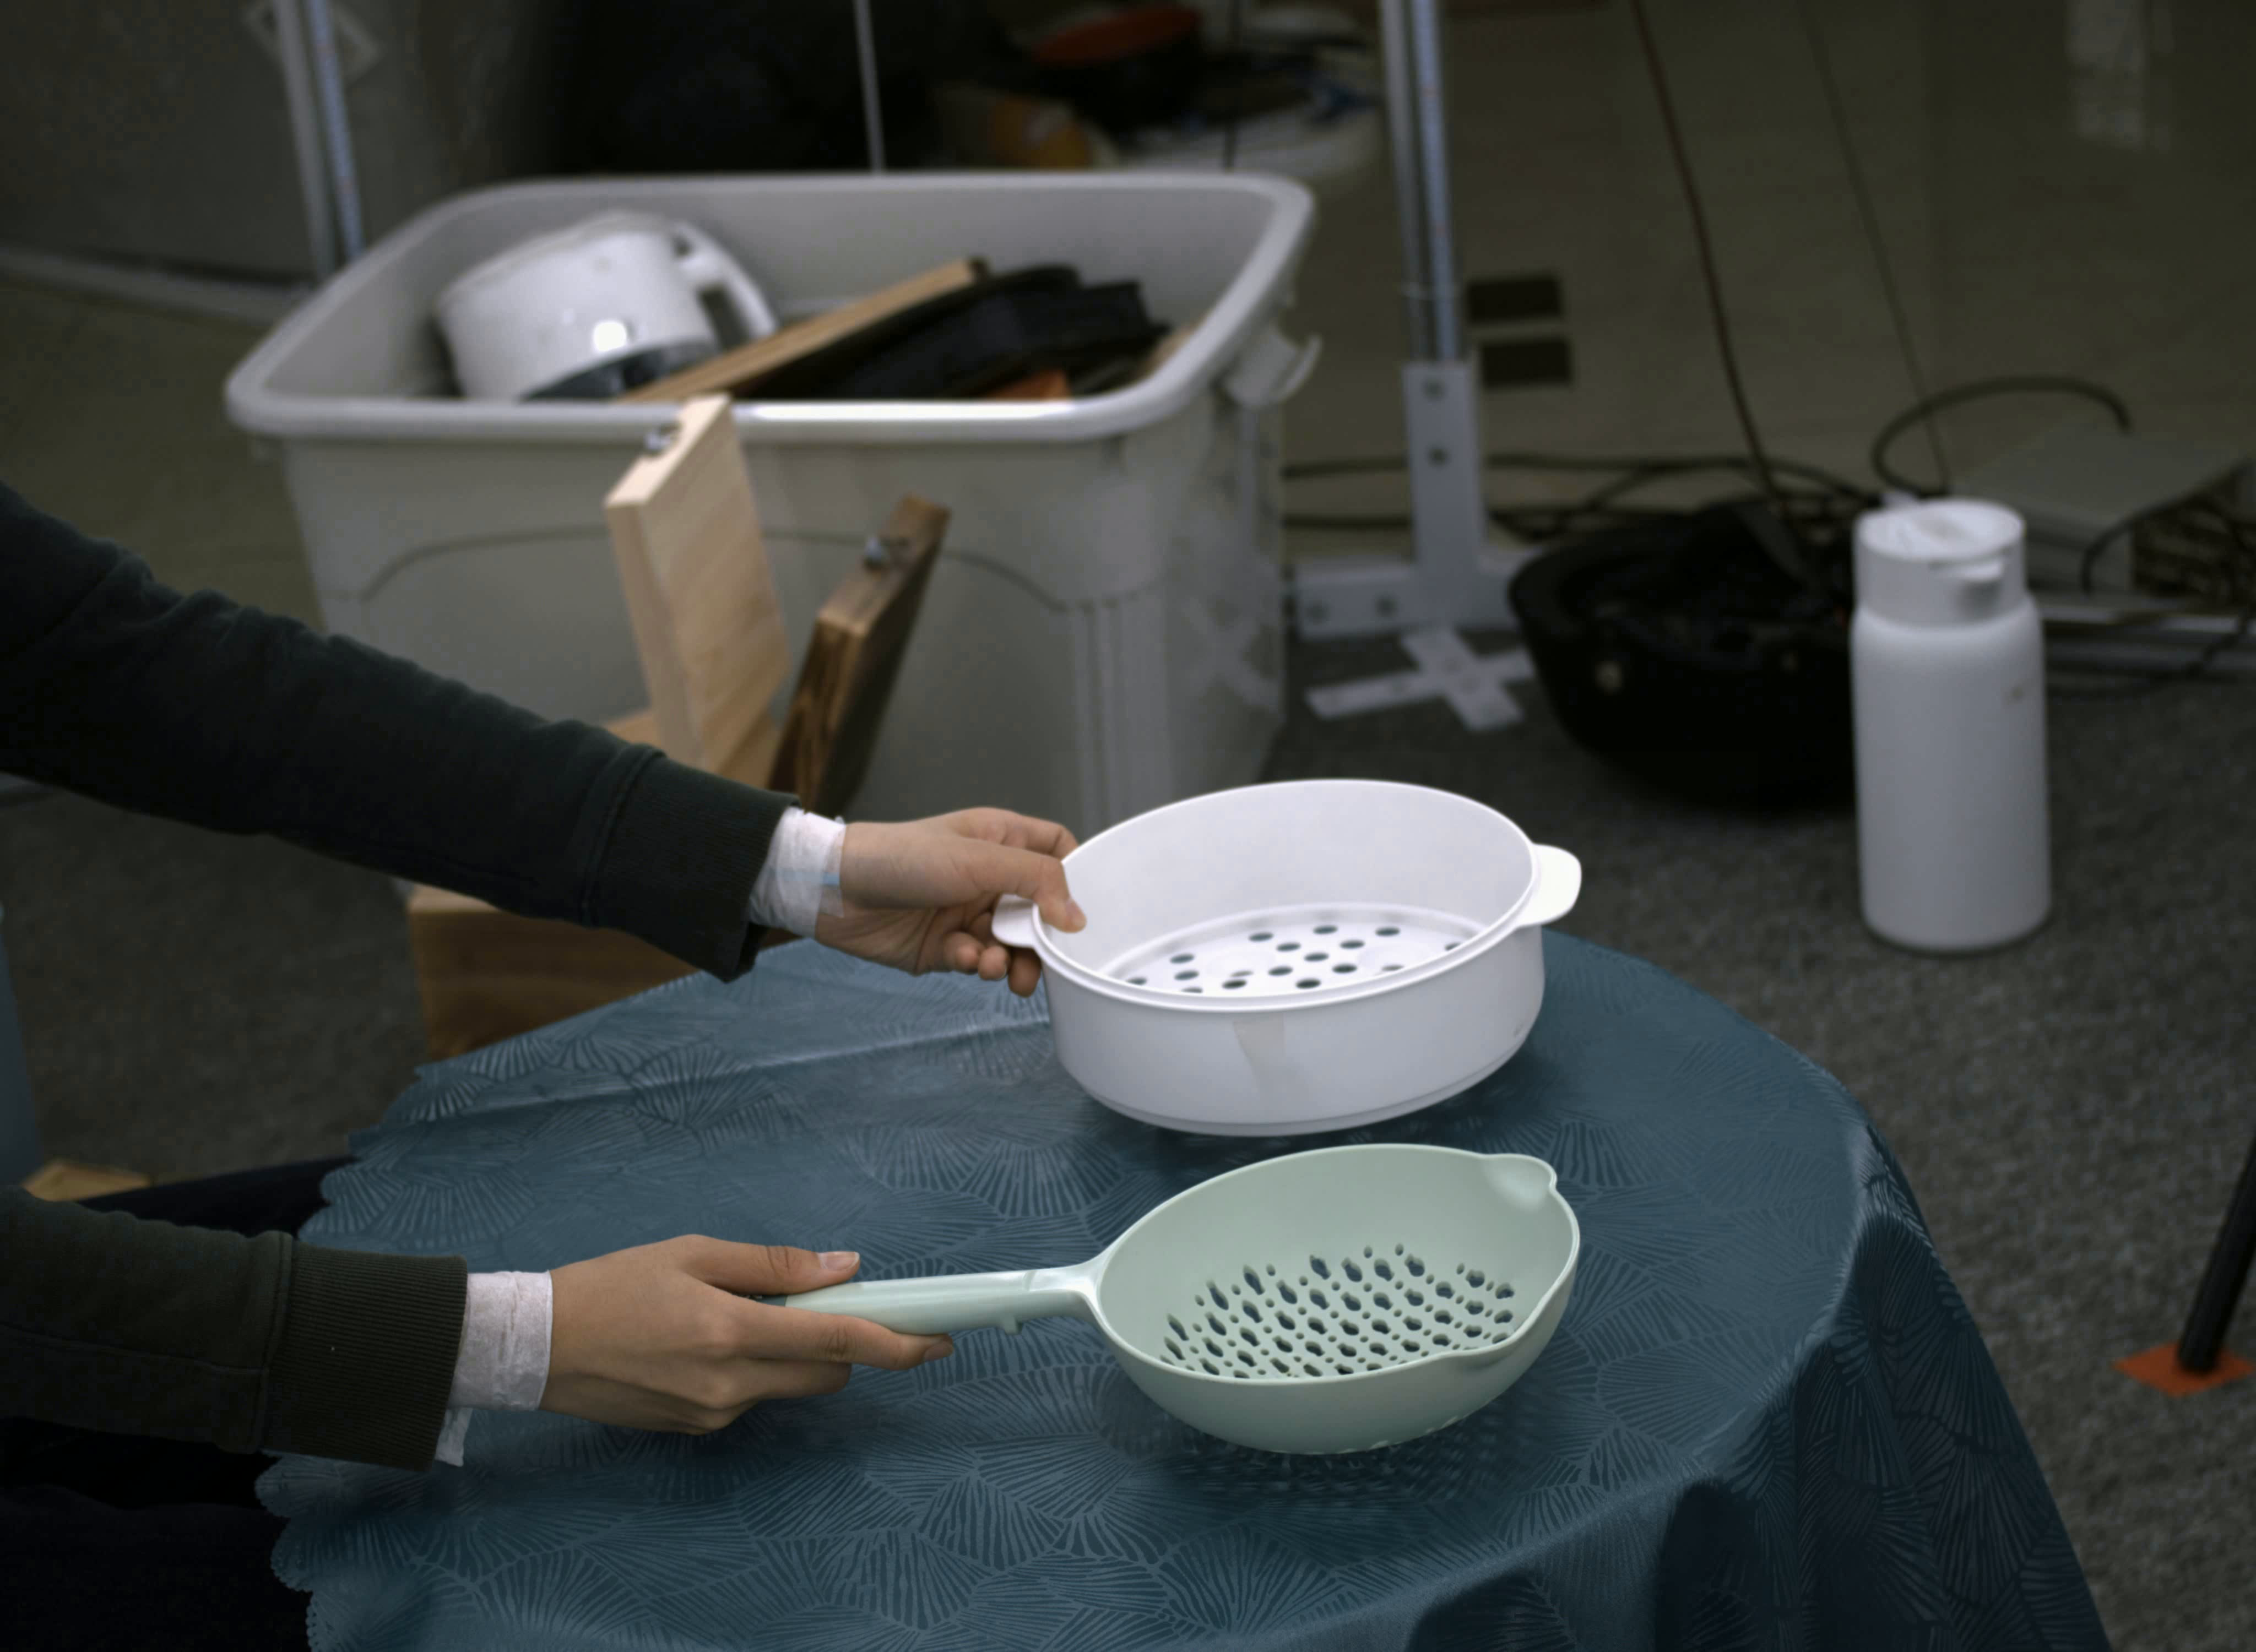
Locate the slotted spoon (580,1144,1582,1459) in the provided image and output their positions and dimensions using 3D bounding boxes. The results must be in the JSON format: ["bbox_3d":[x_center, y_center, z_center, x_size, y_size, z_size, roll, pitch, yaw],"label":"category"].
[{"bbox_3d":[-0.021,0.170,1.996,0.358,0.076,0.167,3,25,8],"label":"slotted spoon"}]

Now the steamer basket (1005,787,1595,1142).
[{"bbox_3d":[0.069,0.054,2.205,0.230,0.070,0.199,-3,24,10],"label":"steamer basket"}]
